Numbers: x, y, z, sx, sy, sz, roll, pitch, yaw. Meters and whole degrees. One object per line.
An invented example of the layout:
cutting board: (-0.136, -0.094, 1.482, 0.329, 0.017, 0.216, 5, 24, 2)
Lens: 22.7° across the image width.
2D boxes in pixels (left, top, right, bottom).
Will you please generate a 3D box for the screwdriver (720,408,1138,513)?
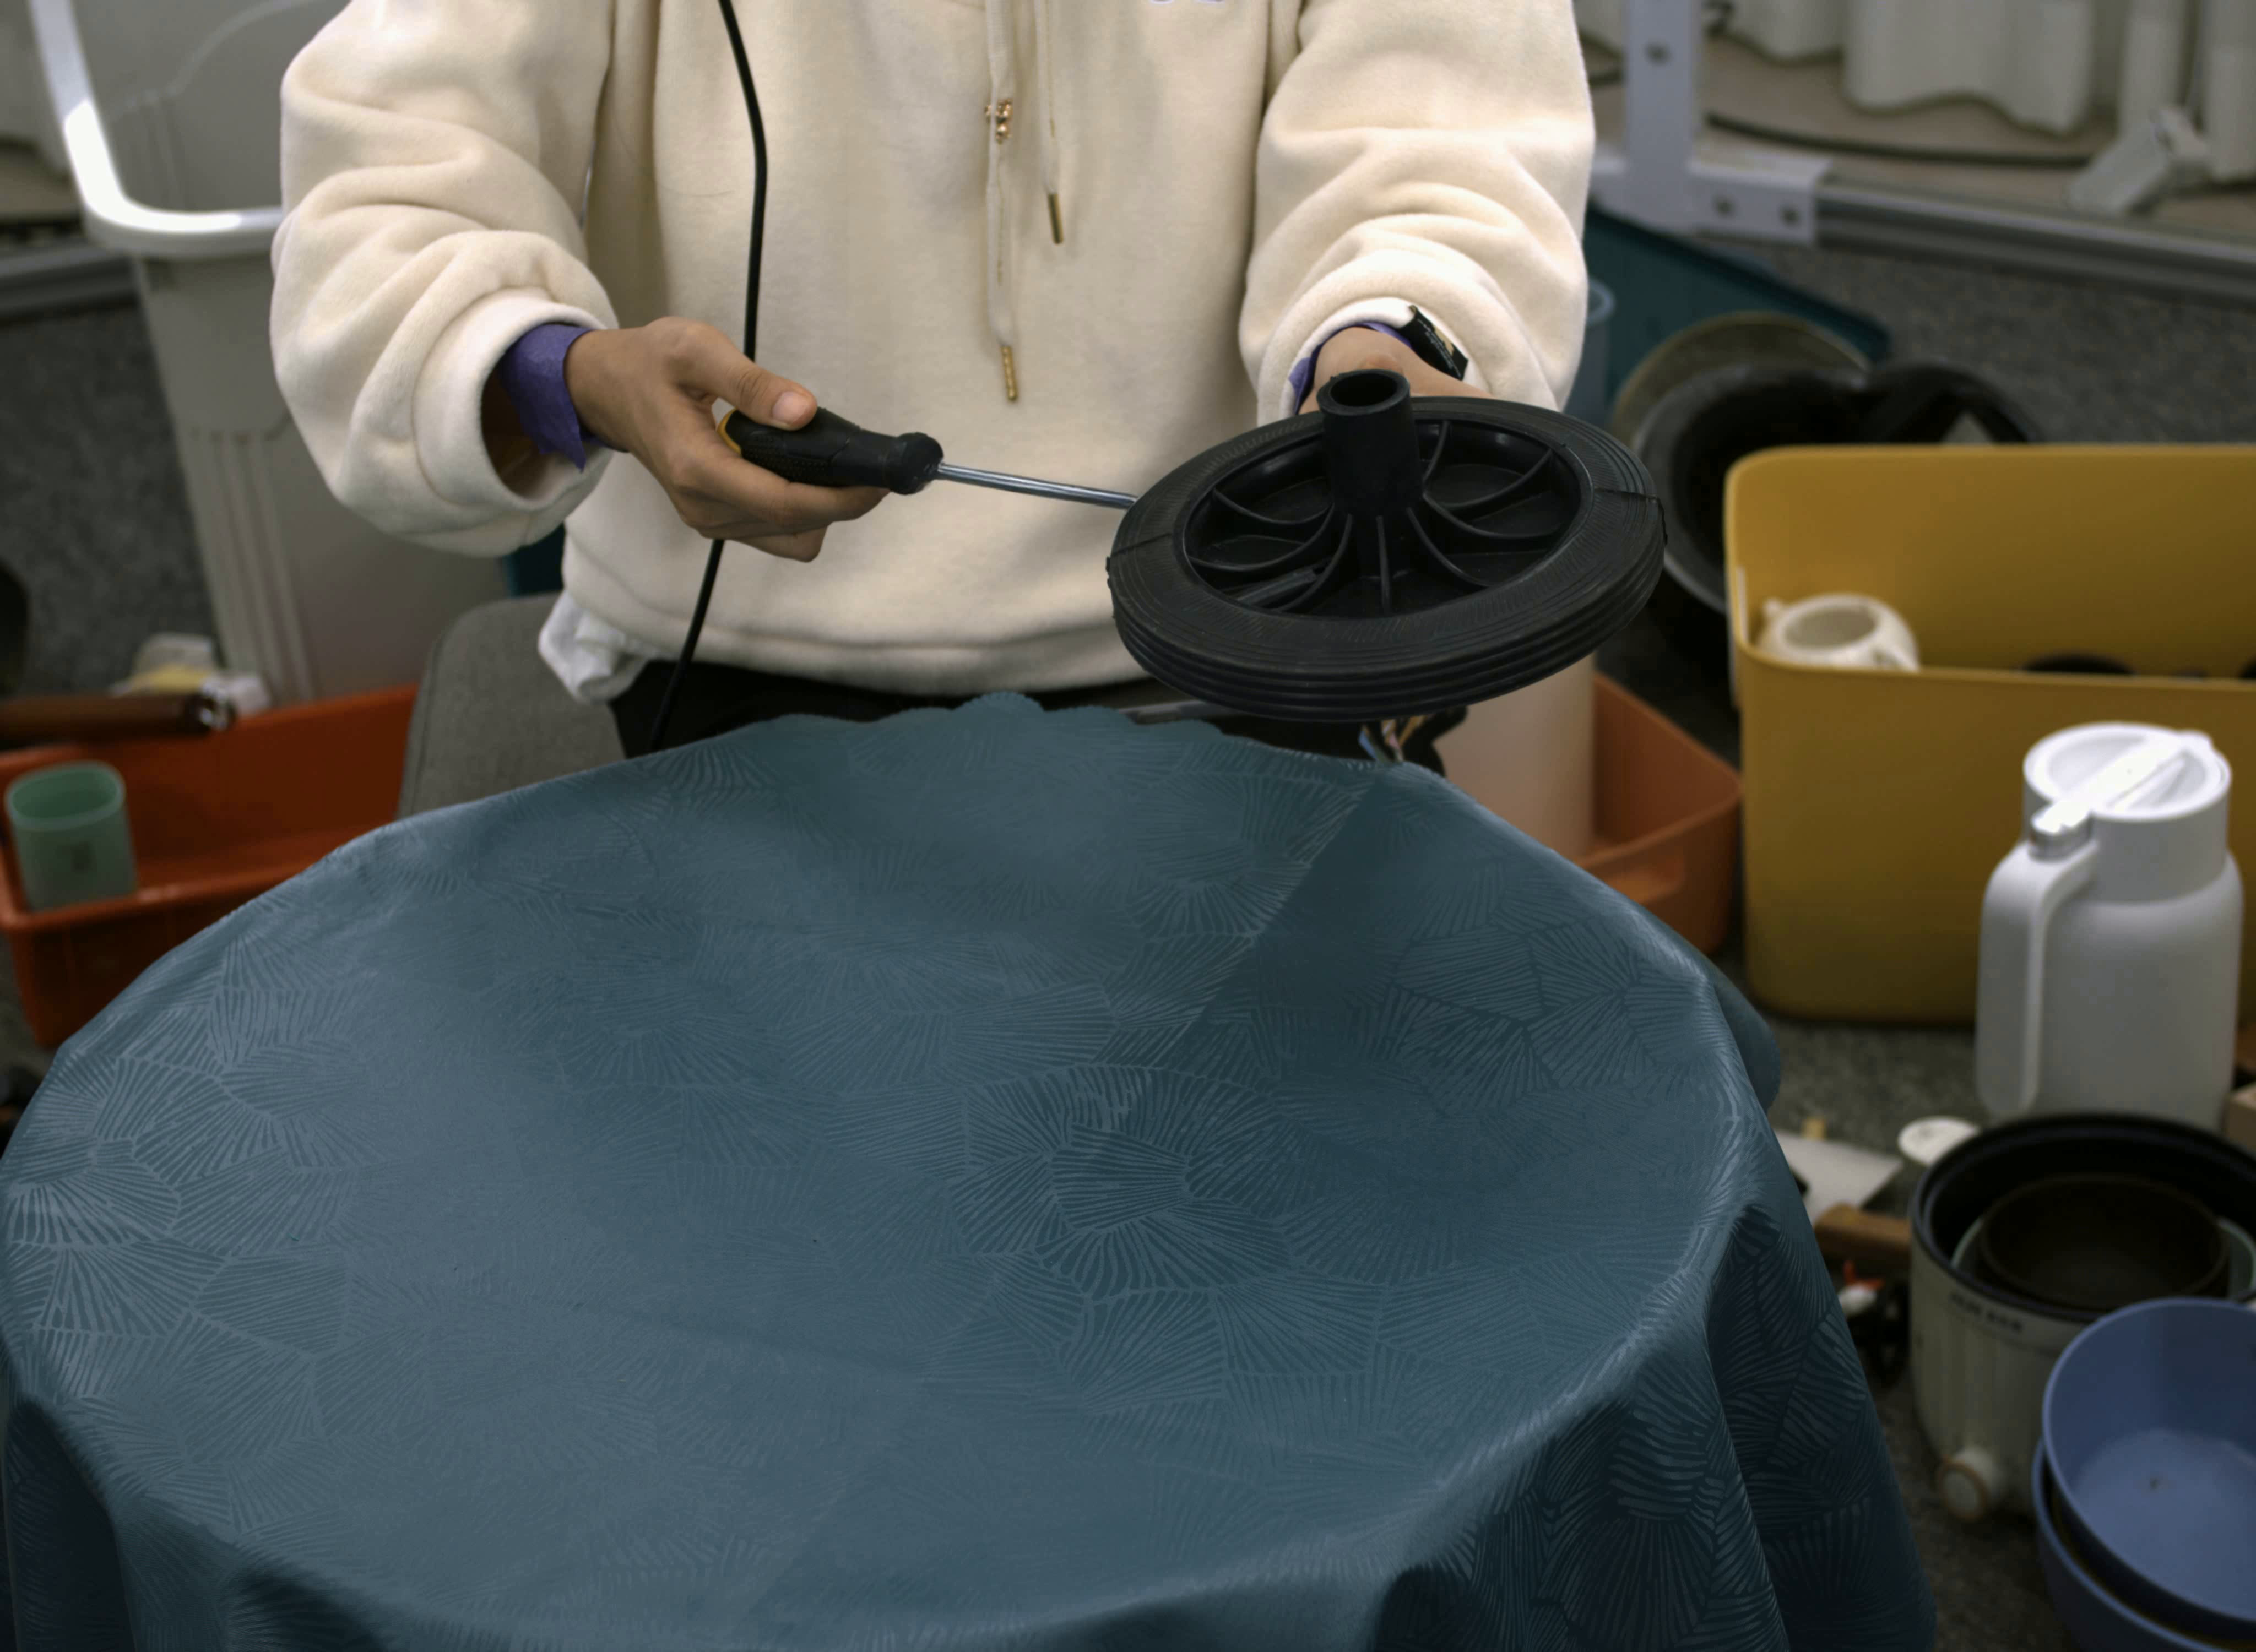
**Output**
screwdriver: (-0.069, -0.122, 1.983, 0.197, 0.031, 0.032, 14, 31, 38)

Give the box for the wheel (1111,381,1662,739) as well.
wheel: (0.083, -0.107, 1.888, 0.186, 0.078, 0.193, 16, 41, 35)
